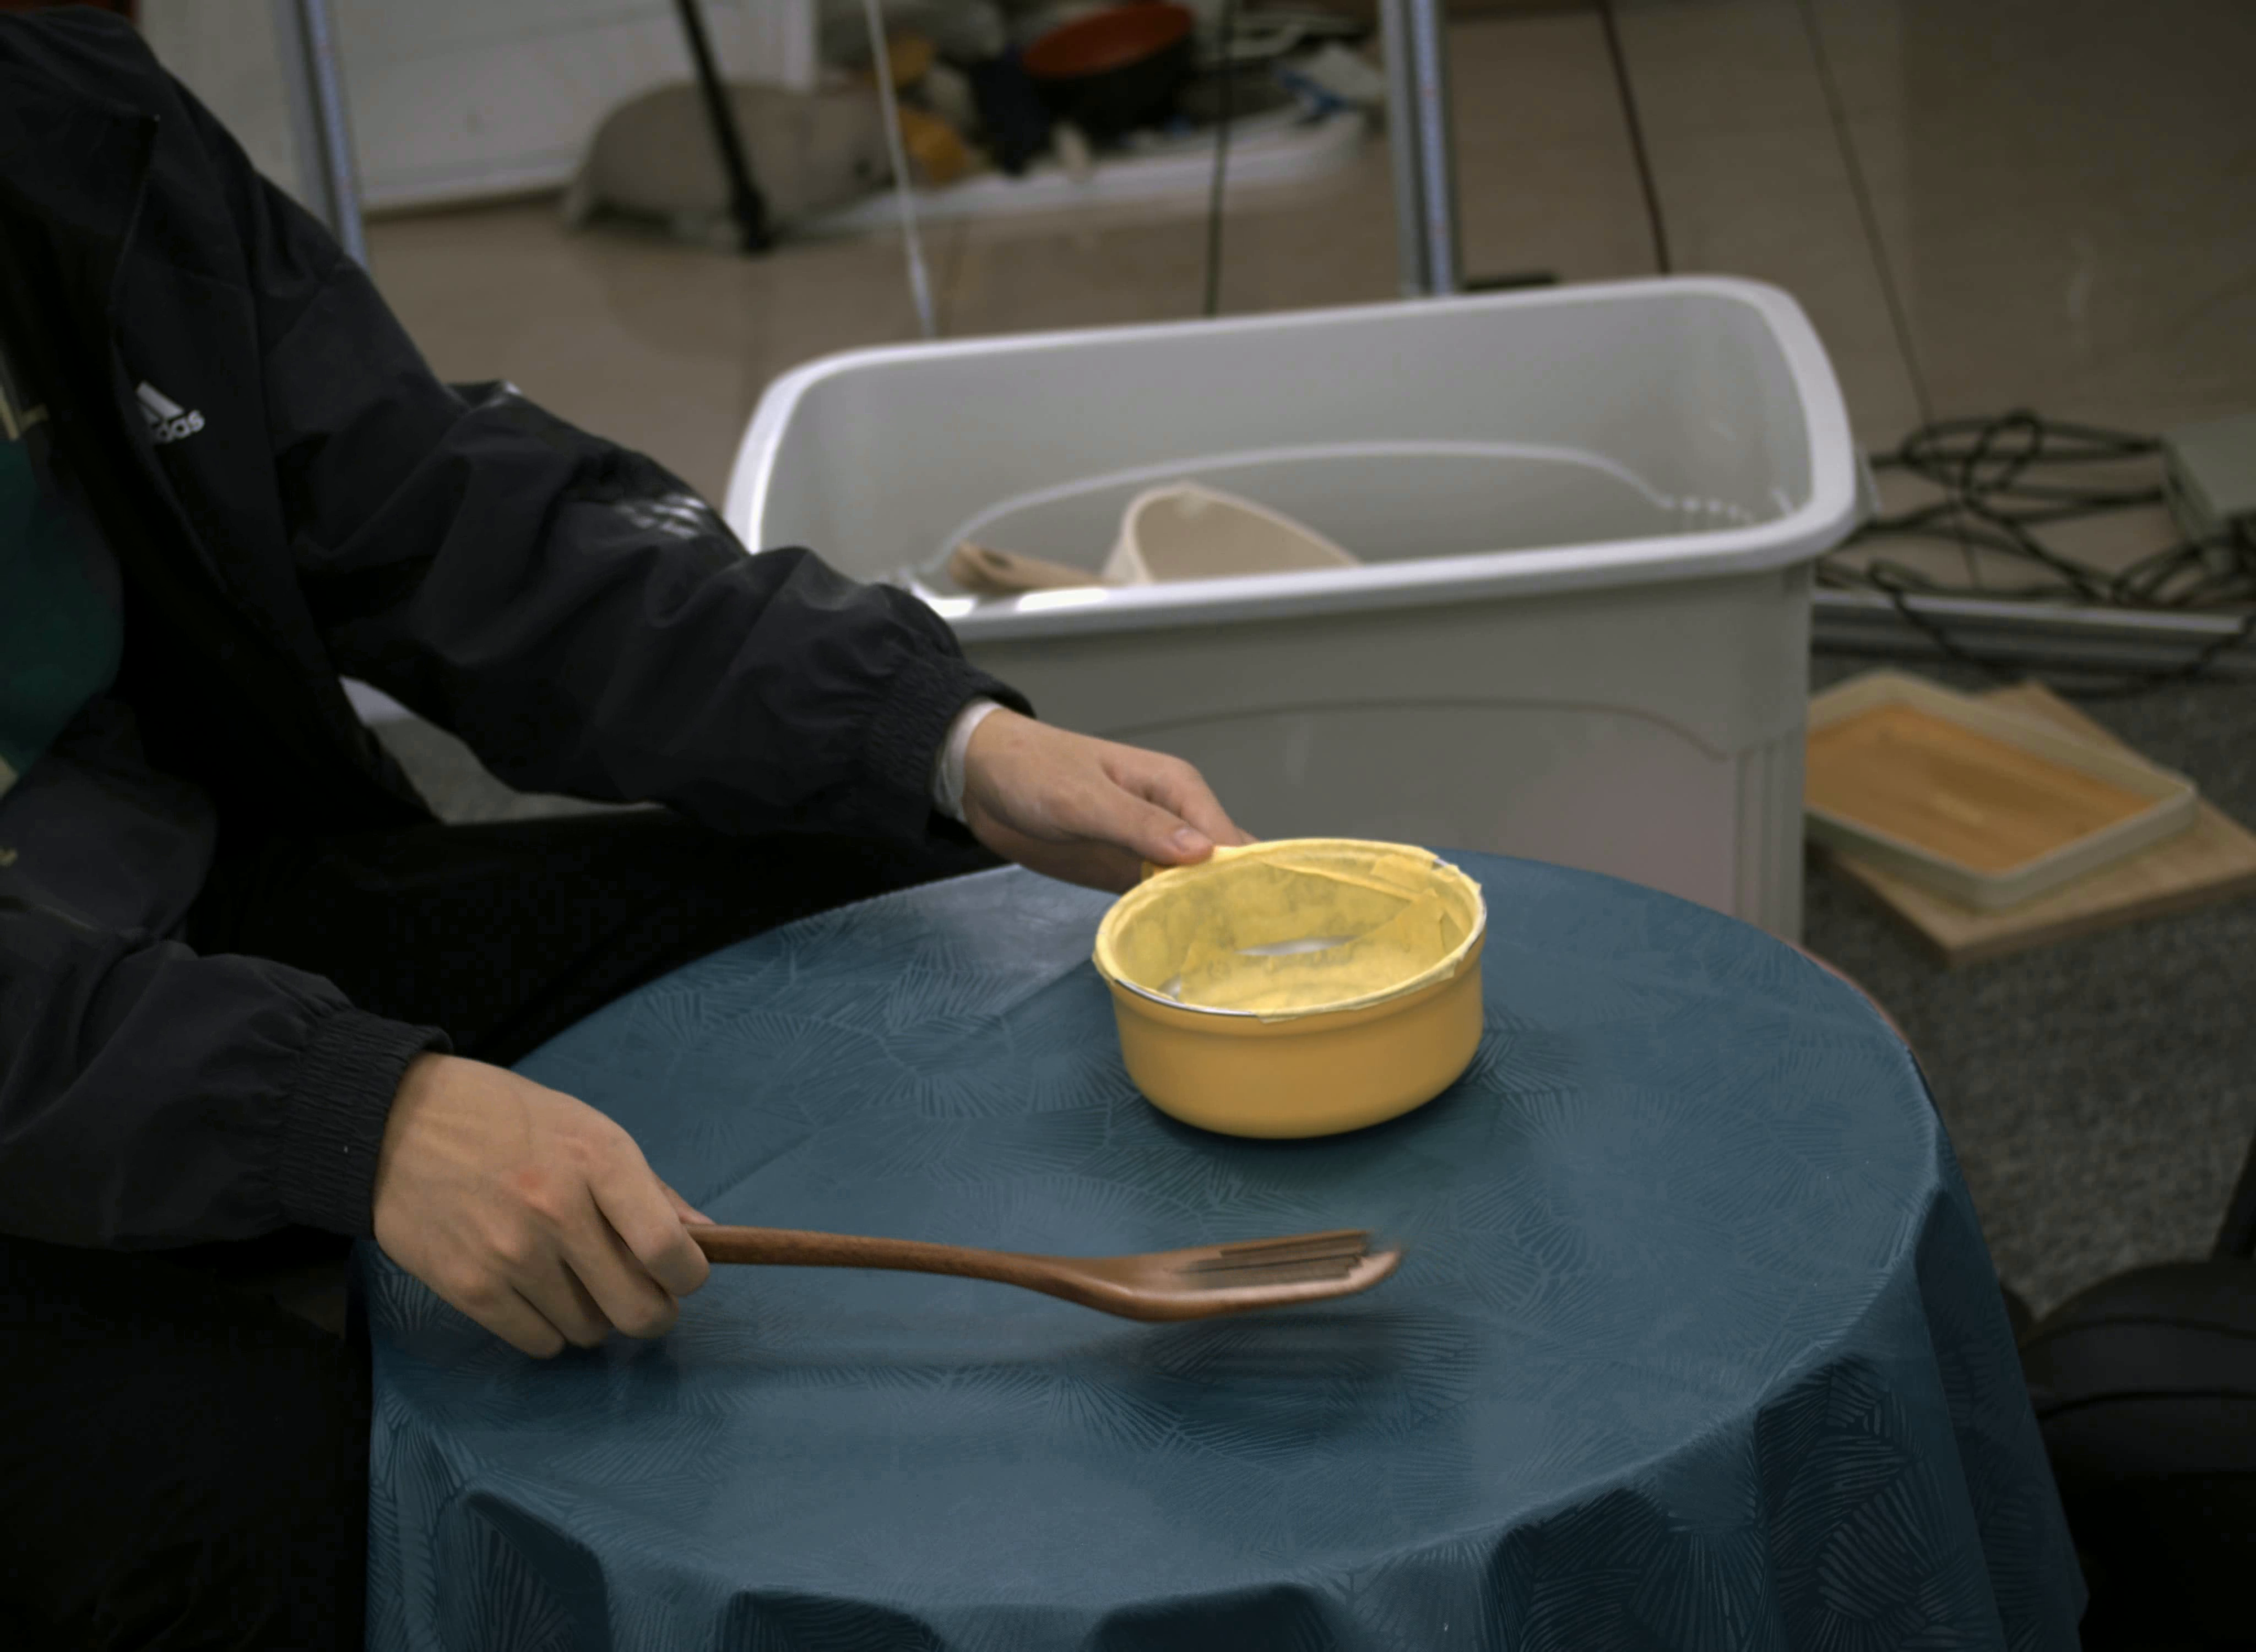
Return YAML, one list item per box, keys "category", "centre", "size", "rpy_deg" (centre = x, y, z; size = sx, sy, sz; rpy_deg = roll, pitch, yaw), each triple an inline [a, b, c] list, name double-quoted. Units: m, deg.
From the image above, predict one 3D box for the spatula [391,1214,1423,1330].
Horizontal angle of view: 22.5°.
- category: "spatula"
  centre: [-0.085, 0.158, 2.050]
  size: [0.386, 0.024, 0.085]
  rpy_deg: [2, 13, 14]

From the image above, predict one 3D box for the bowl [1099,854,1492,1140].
- category: "bowl"
  centre: [0.061, 0.064, 2.218]
  size: [0.152, 0.075, 0.177]
  rpy_deg: [-20, 29, -28]
